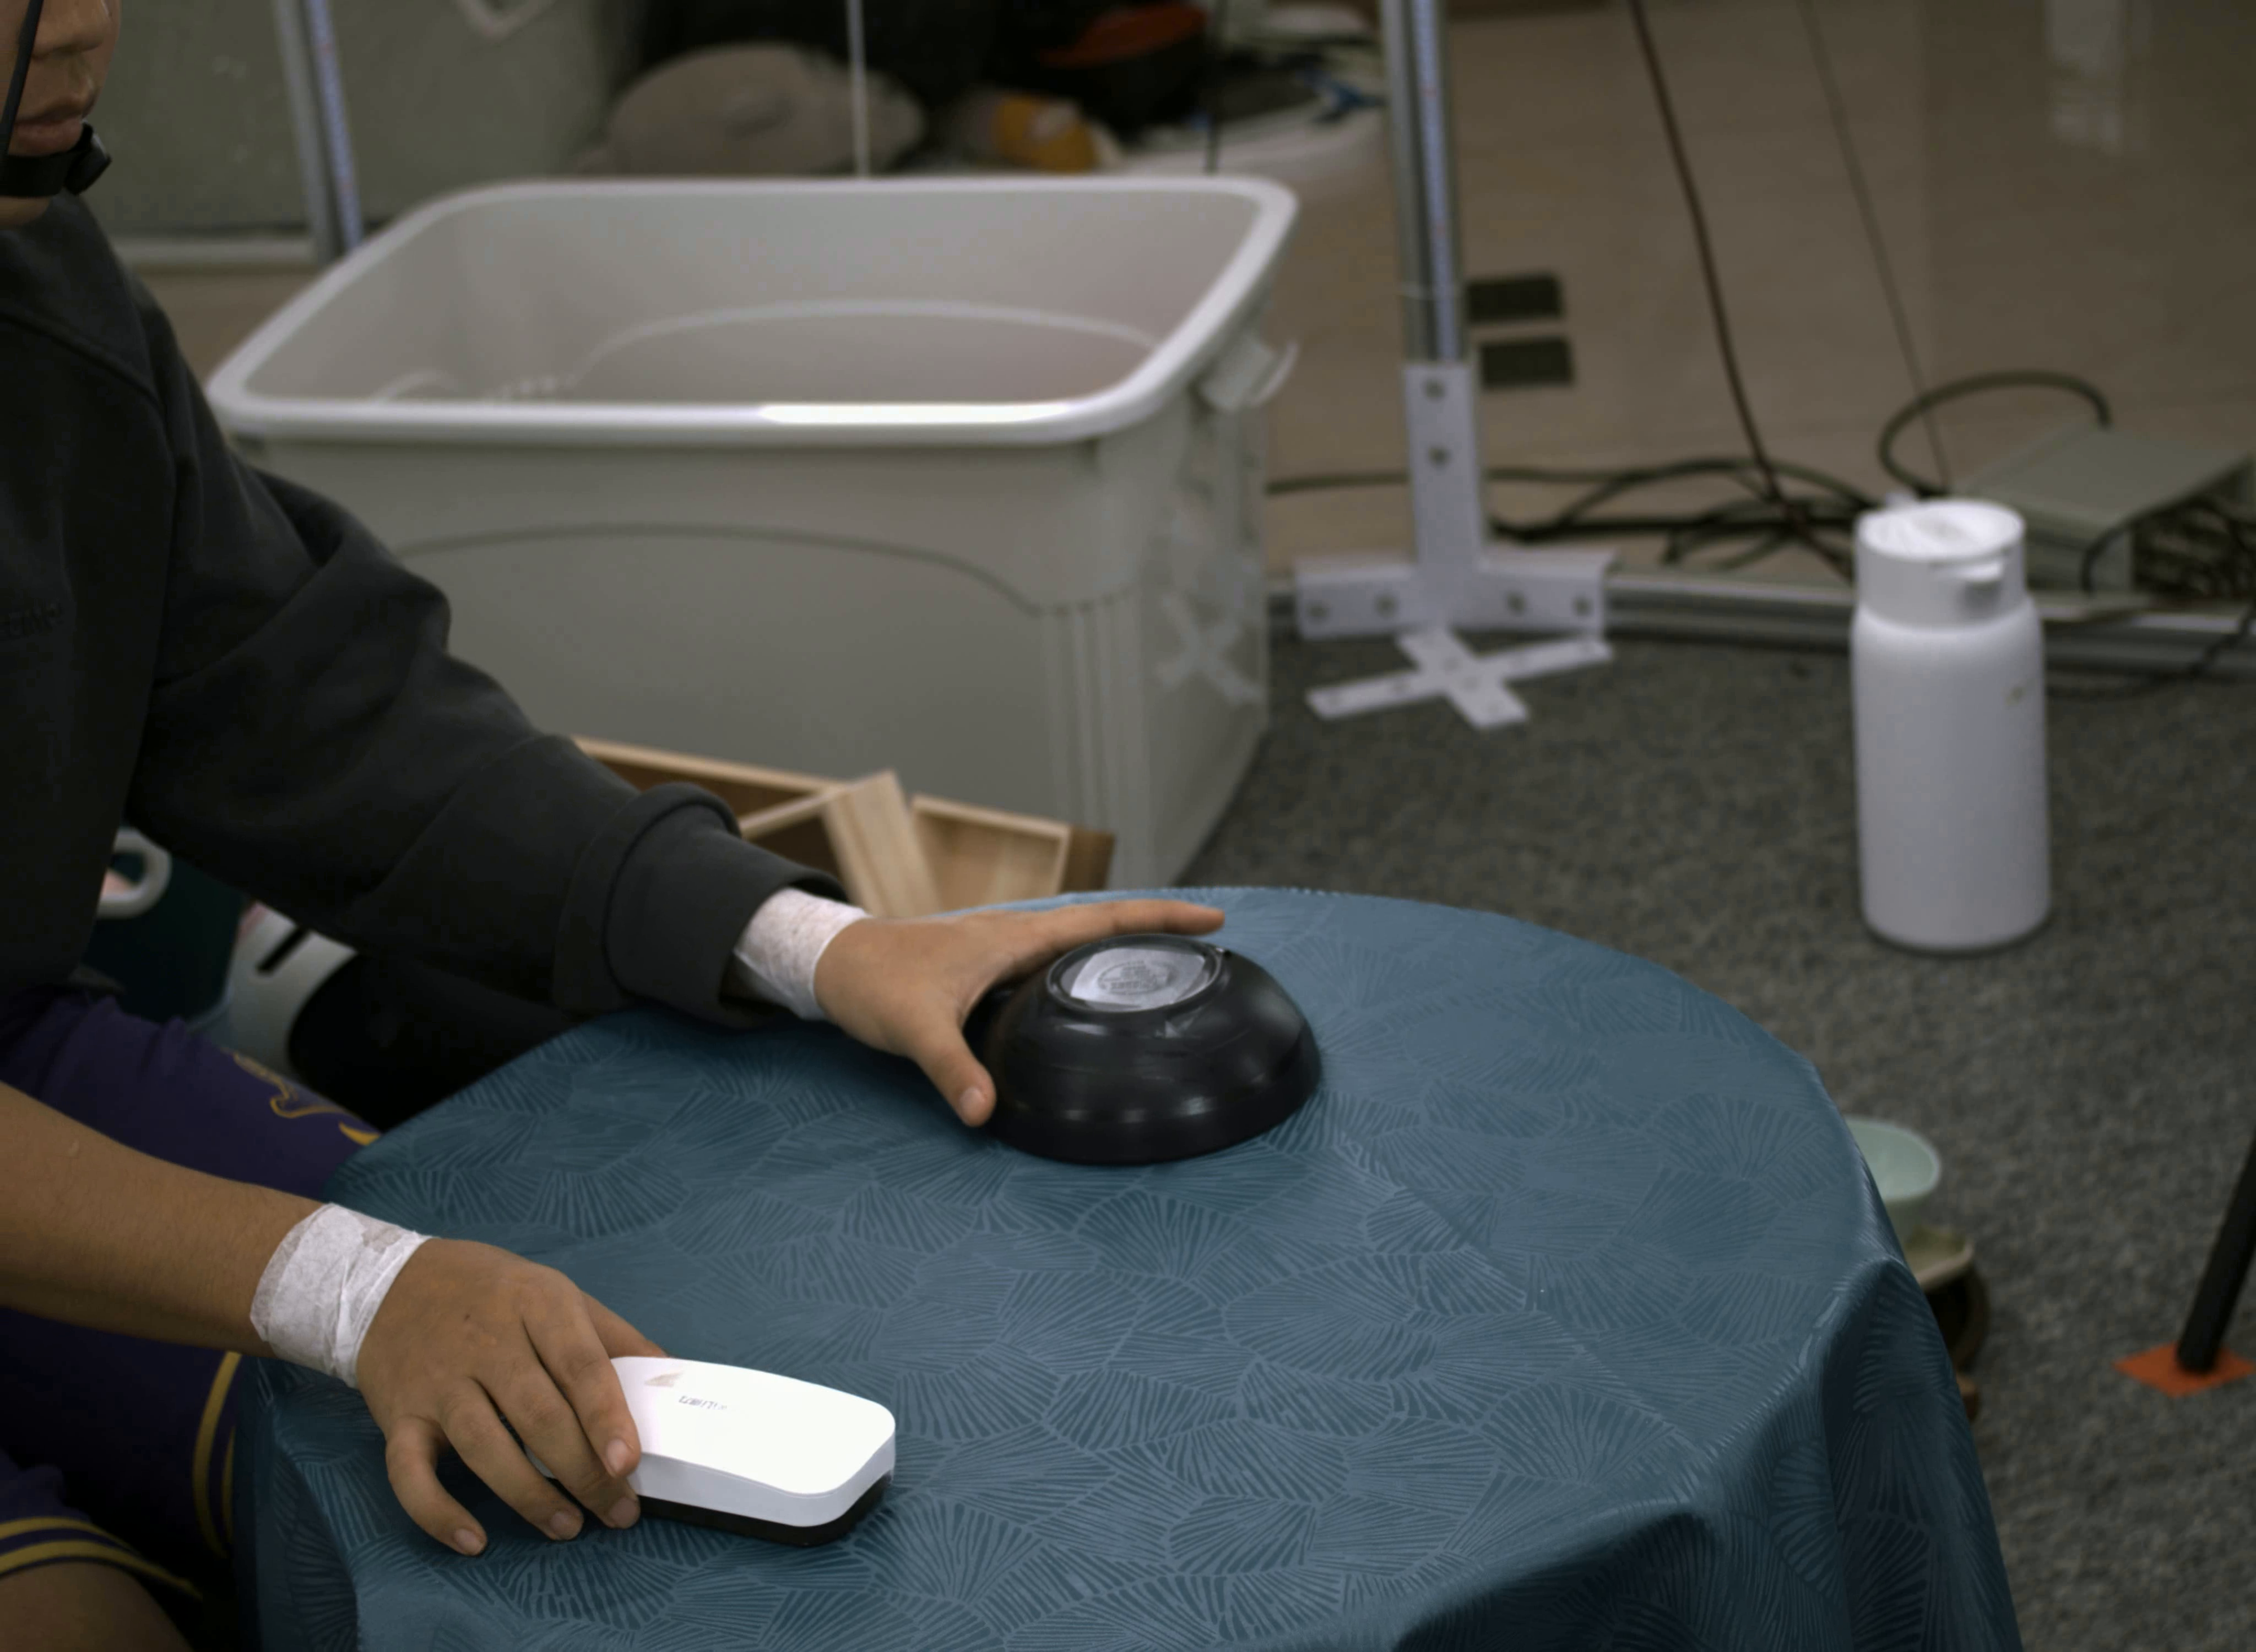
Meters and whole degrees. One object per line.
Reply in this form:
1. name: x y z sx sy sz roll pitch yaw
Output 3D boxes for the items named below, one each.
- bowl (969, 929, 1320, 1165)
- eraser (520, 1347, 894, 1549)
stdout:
1. bowl: 0.004 0.078 2.215 0.140 0.050 0.138 -5 27 2
2. eraser: -0.146 0.215 1.982 0.130 0.035 0.062 10 28 28
